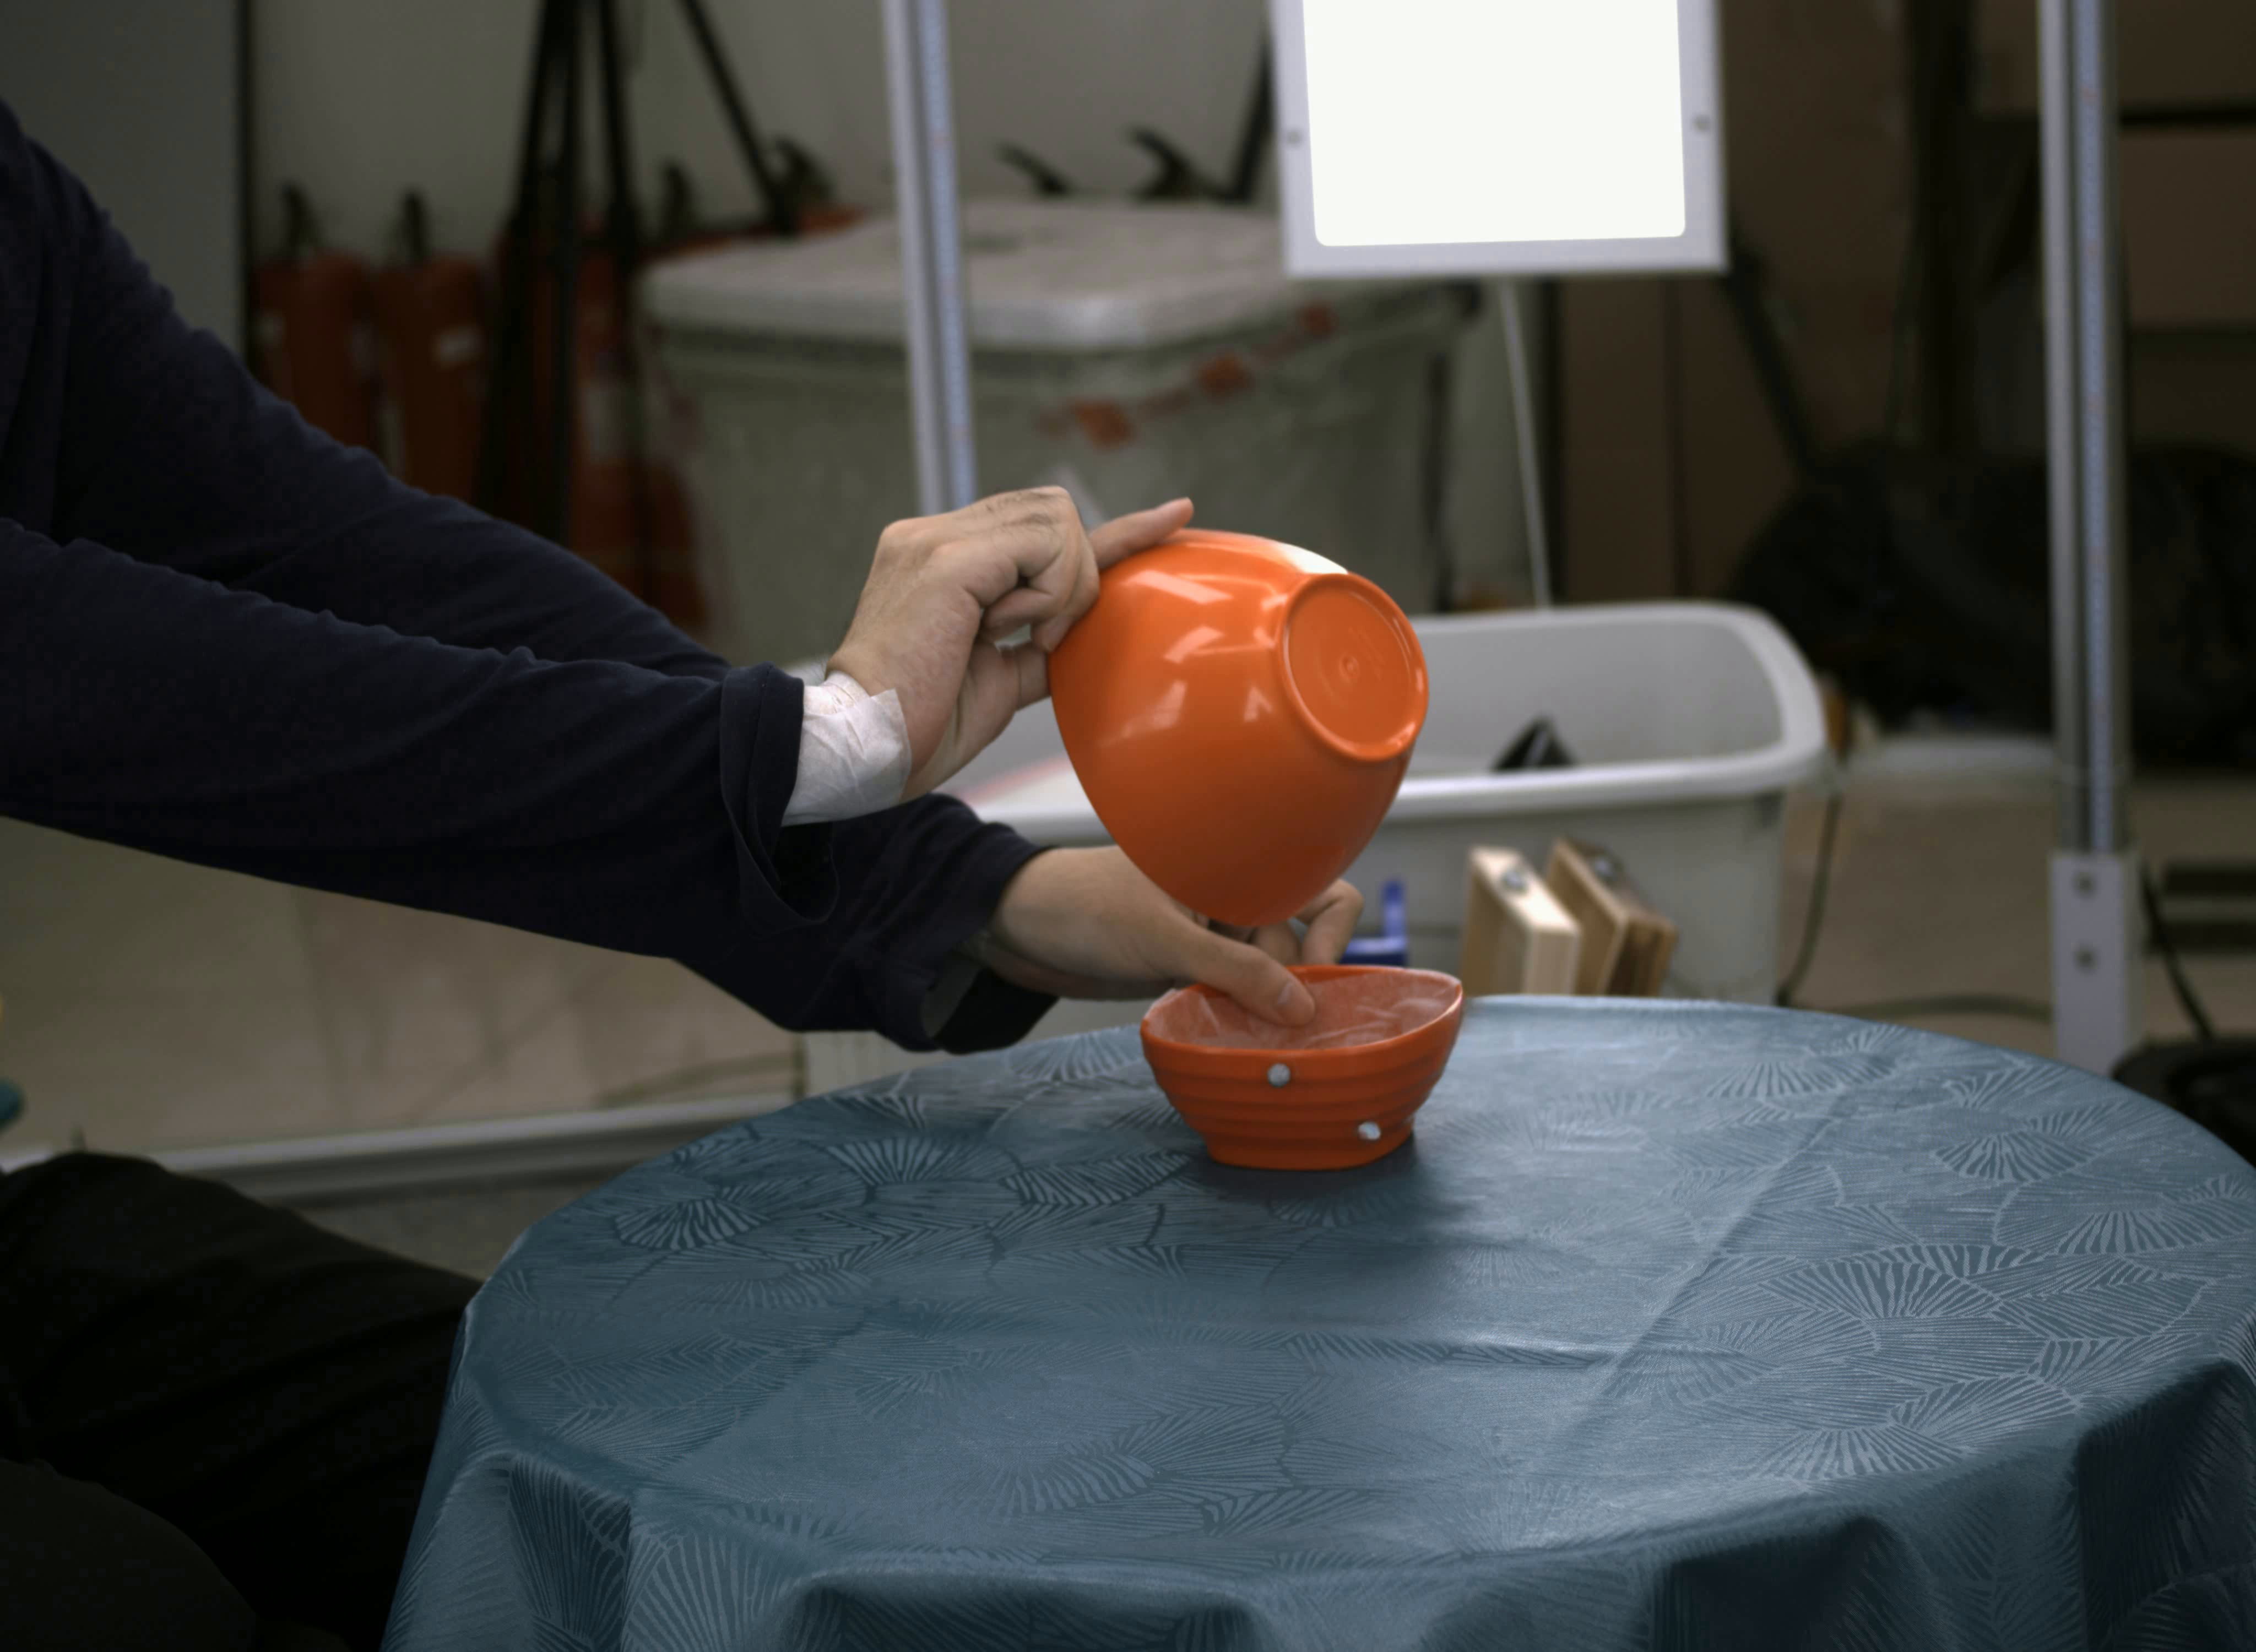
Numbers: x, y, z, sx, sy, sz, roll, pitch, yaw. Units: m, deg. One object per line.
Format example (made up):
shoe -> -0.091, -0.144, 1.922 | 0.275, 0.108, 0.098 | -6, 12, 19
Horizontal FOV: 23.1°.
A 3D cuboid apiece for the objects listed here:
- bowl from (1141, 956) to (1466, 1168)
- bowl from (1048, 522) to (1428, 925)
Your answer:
bowl -> 0.063, 0.085, 1.935 | 0.118, 0.051, 0.119 | -4, 15, 0
bowl -> 0.050, -0.046, 1.872 | 0.144, 0.148, 0.107 | -17, -3, -42
